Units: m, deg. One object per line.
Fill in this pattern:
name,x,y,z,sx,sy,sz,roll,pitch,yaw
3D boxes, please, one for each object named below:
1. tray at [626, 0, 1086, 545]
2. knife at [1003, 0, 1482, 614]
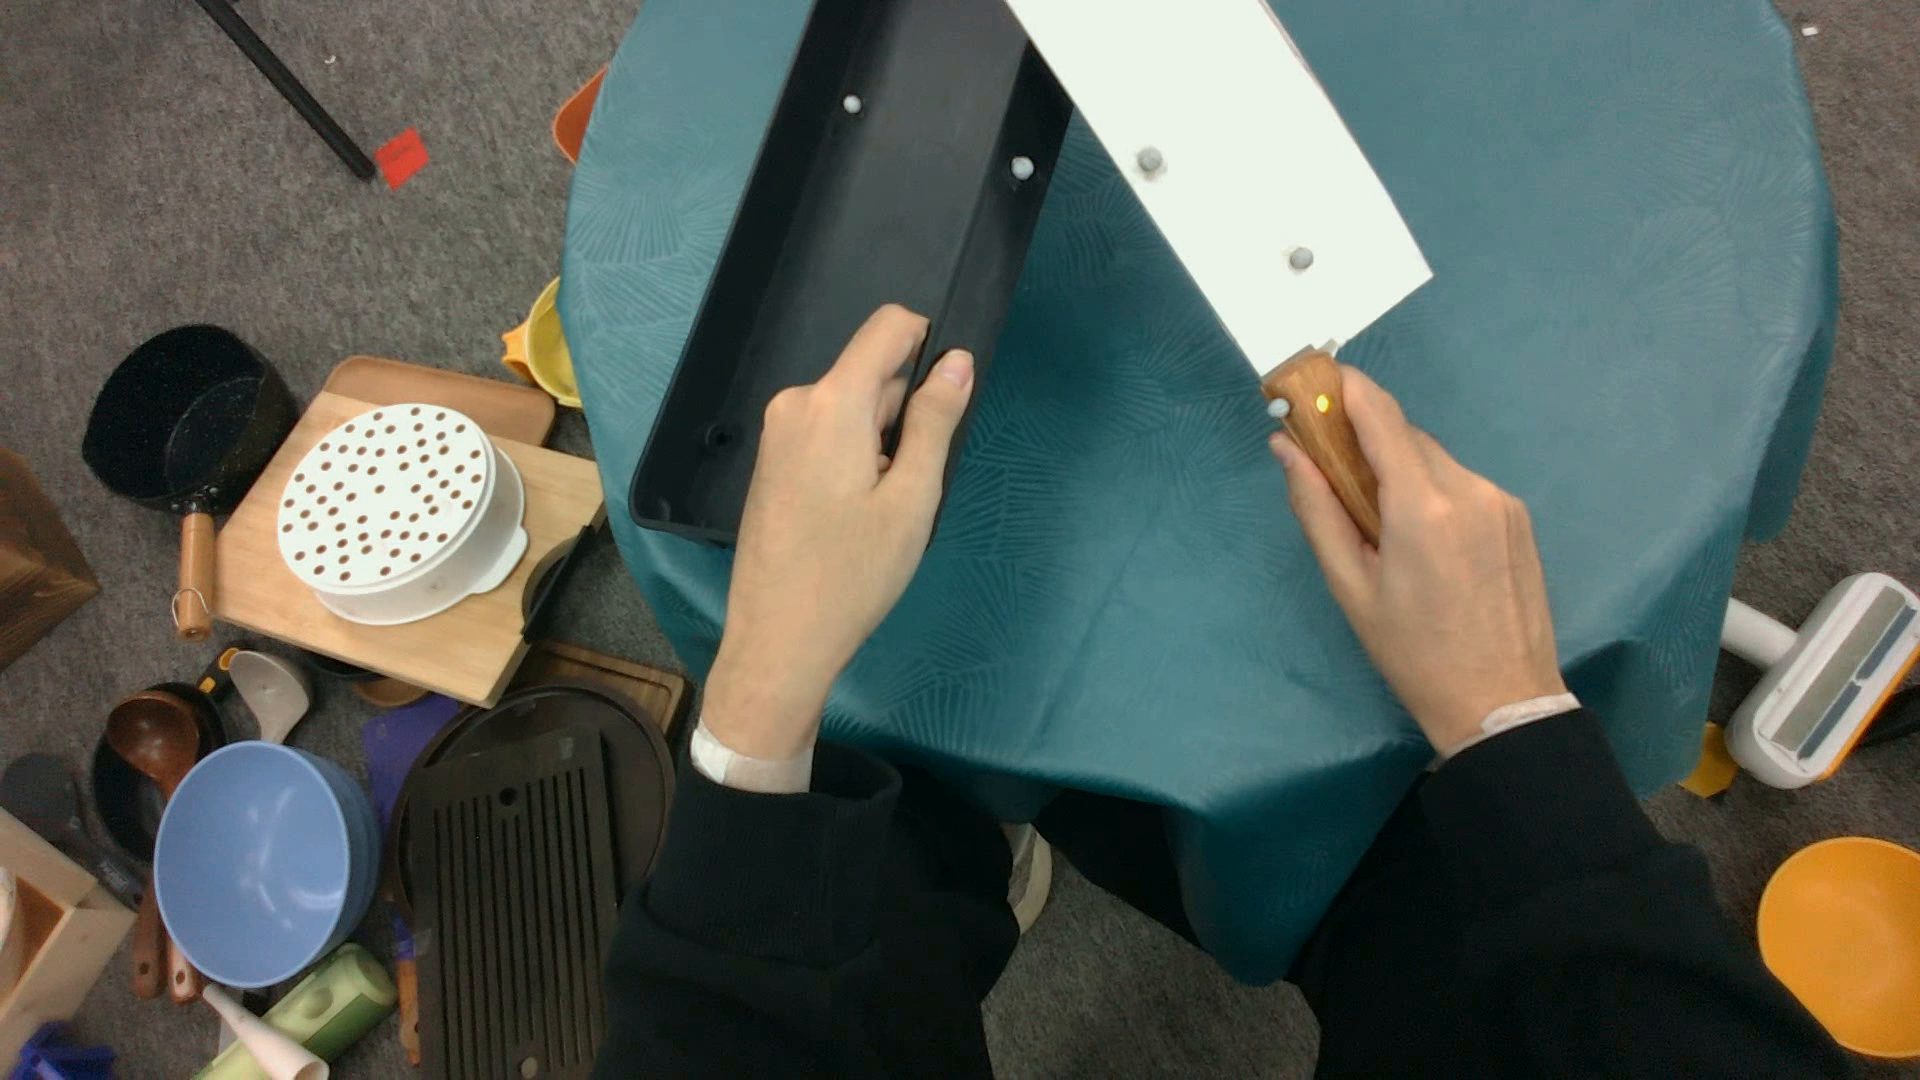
tray,-0.041,-0.154,0.598,0.184,0.037,0.318,3,73,48
knife,0.127,-0.114,0.536,0.093,0.021,0.305,-38,98,-16
